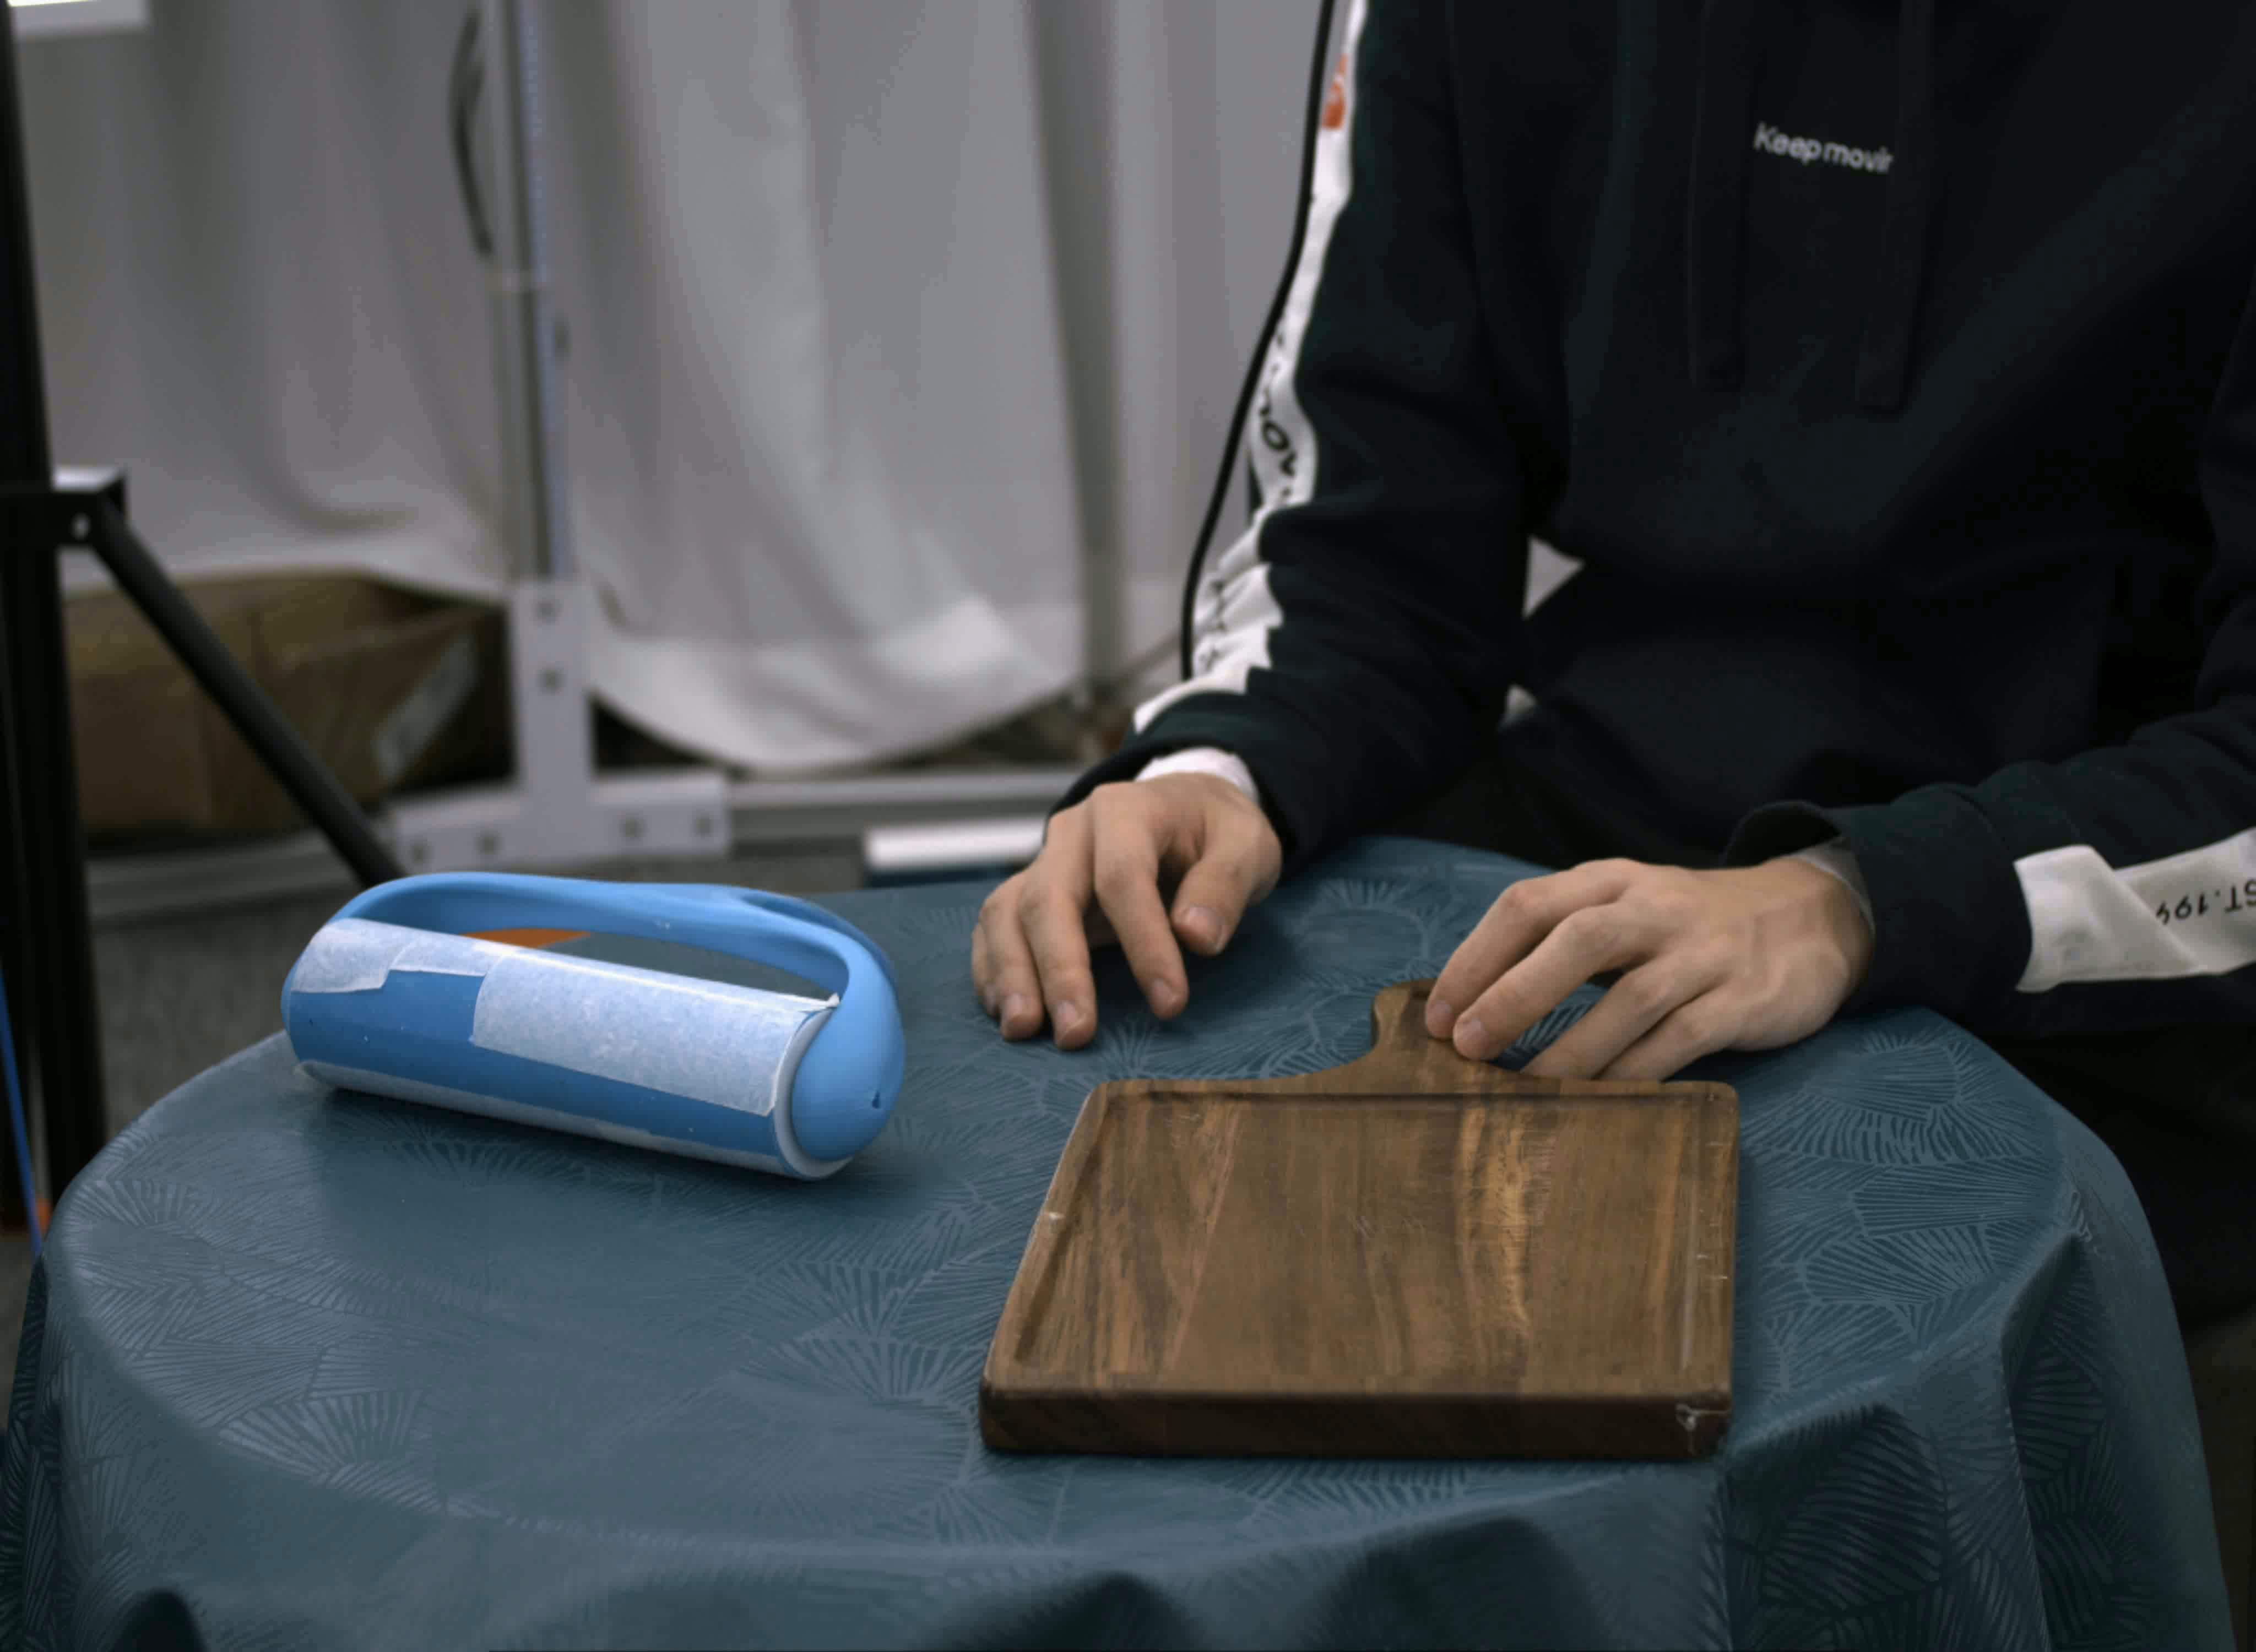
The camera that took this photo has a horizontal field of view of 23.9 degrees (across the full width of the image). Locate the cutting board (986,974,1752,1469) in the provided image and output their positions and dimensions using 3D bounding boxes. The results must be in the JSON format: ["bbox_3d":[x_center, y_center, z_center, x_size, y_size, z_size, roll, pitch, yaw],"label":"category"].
[{"bbox_3d":[0.077,0.106,1.513,0.201,0.023,0.351,0,16,7],"label":"cutting board"}]

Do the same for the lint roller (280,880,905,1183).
[{"bbox_3d":[-0.137,0.051,1.677,0.233,0.068,0.177,6,19,32],"label":"lint roller"}]
